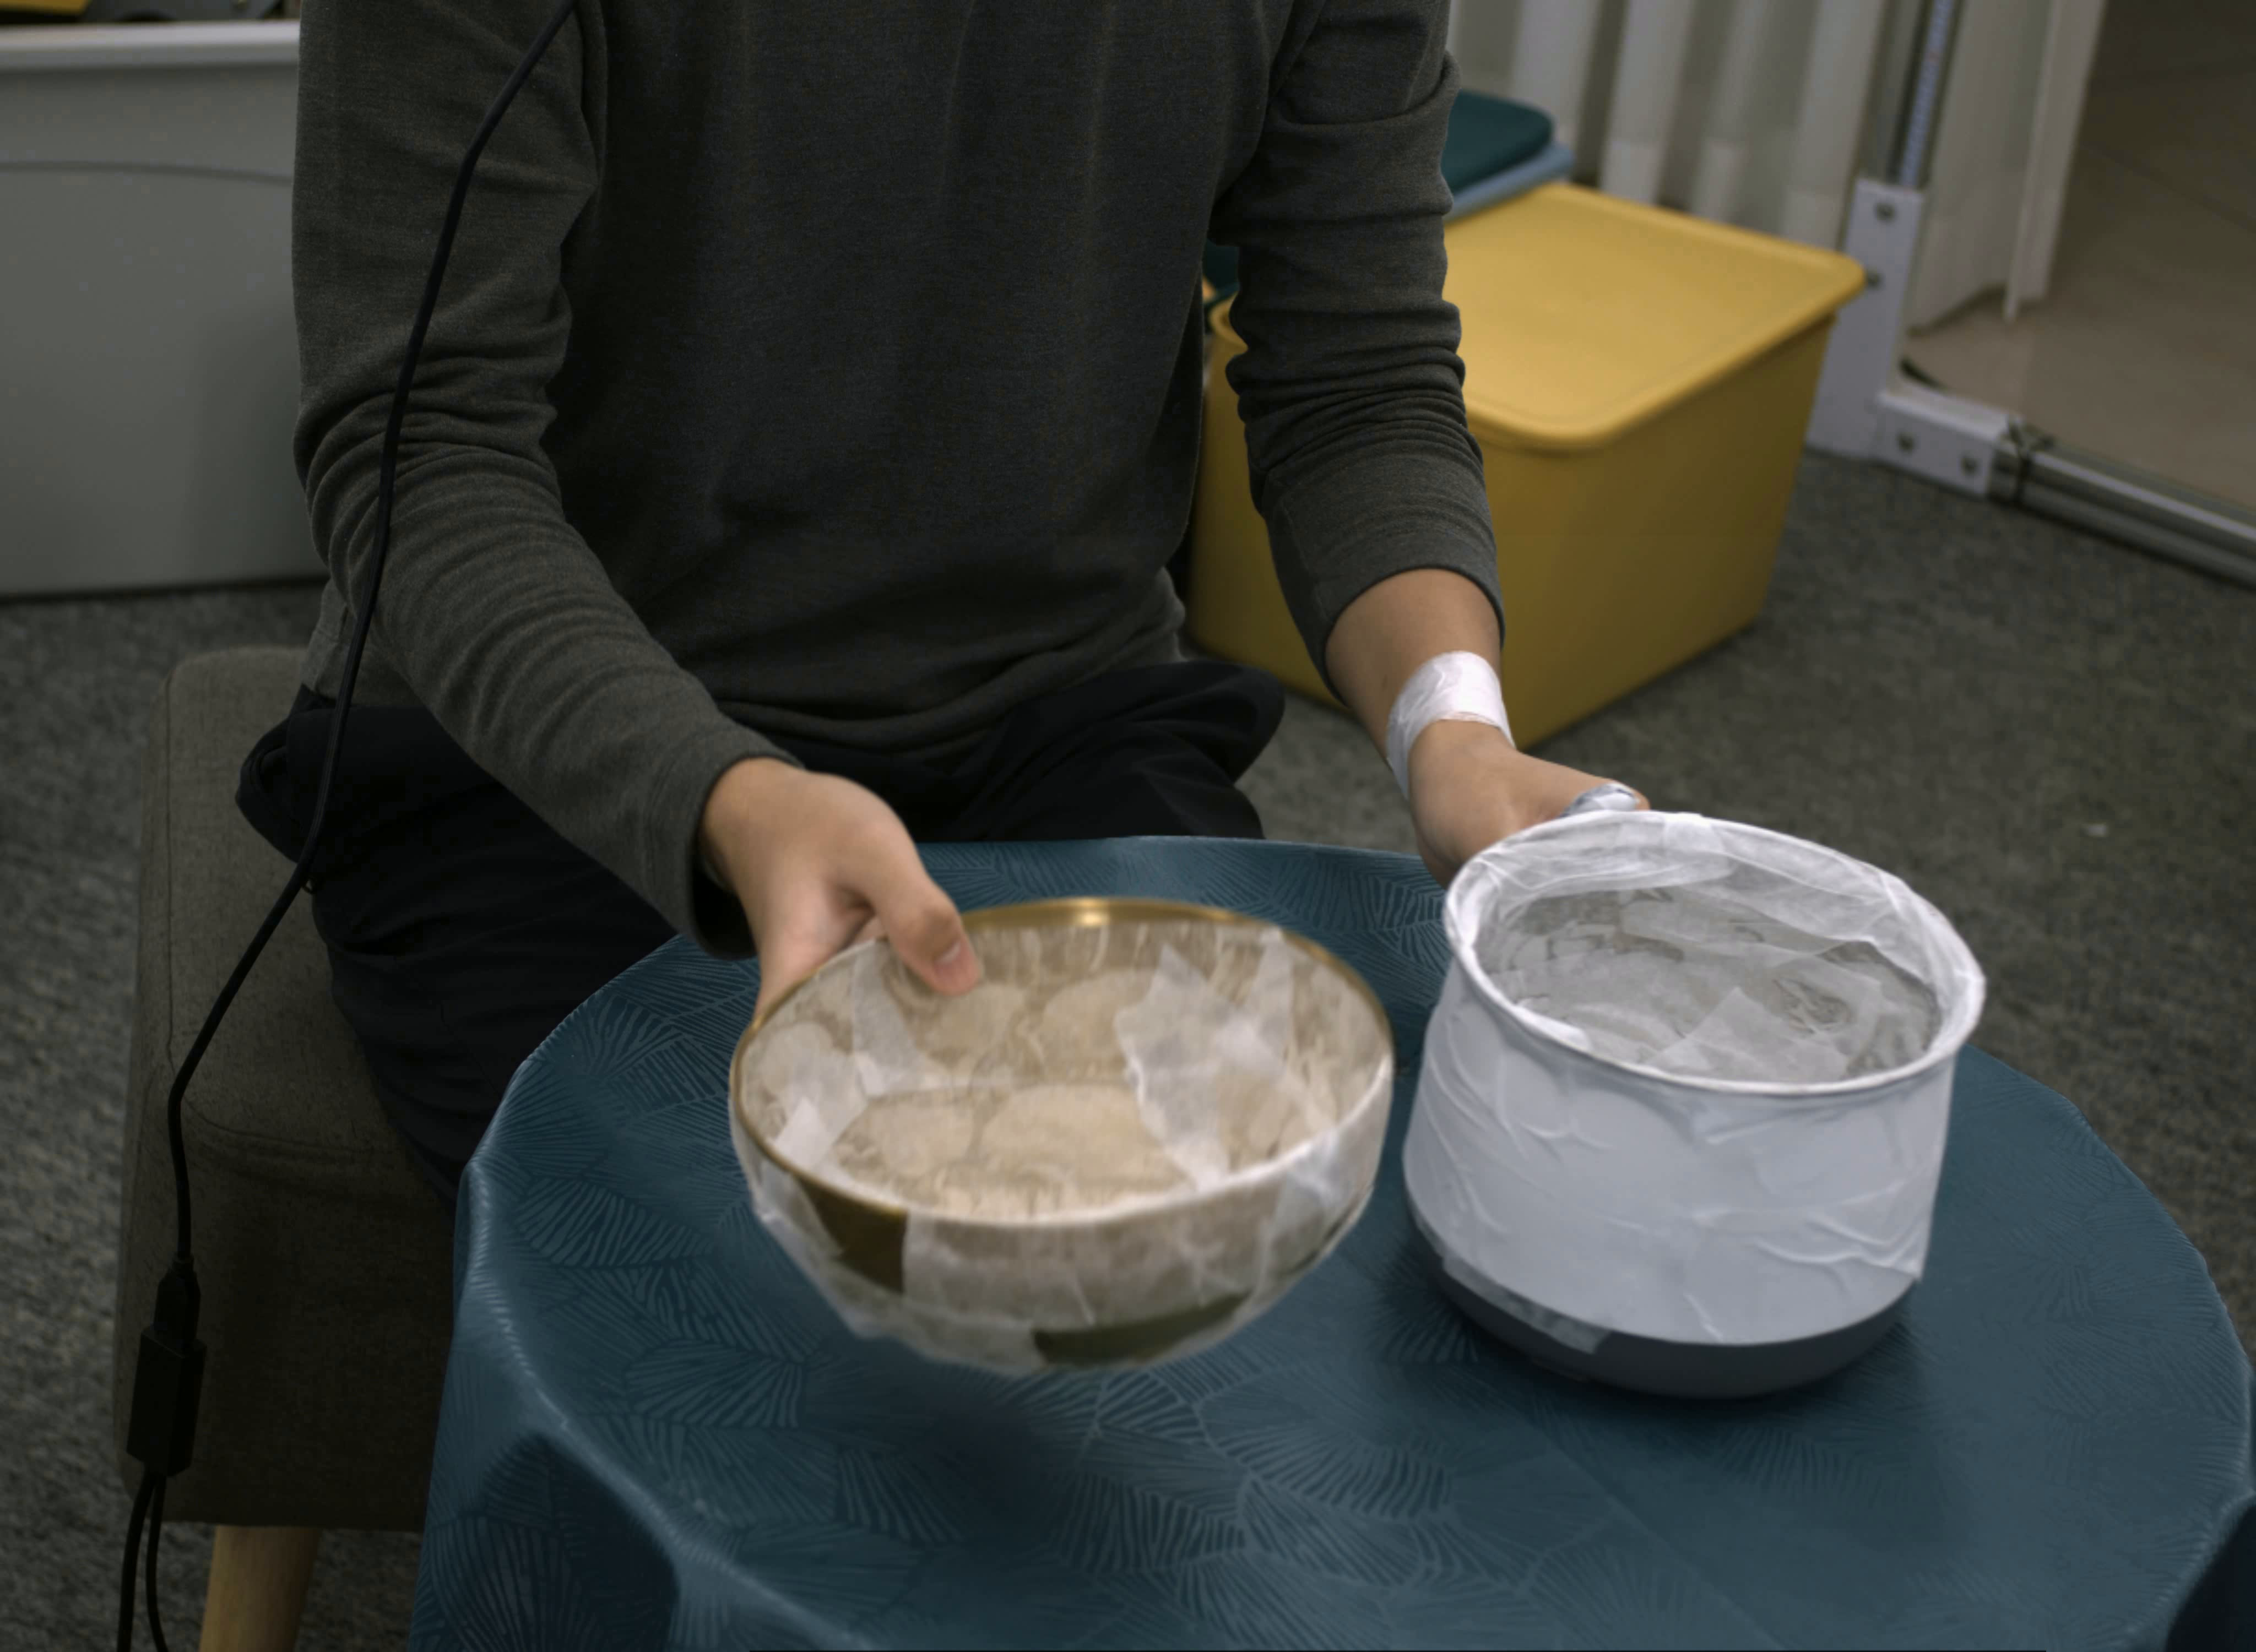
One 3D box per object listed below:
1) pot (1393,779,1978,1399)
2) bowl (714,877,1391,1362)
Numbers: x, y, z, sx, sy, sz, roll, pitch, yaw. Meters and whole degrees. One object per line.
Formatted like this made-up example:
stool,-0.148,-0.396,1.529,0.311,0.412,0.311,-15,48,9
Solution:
pot,0.172,0.079,1.775,0.177,0.136,0.236,-1,30,-17
bowl,-0.017,0.099,1.611,0.214,0.094,0.216,-6,25,3
